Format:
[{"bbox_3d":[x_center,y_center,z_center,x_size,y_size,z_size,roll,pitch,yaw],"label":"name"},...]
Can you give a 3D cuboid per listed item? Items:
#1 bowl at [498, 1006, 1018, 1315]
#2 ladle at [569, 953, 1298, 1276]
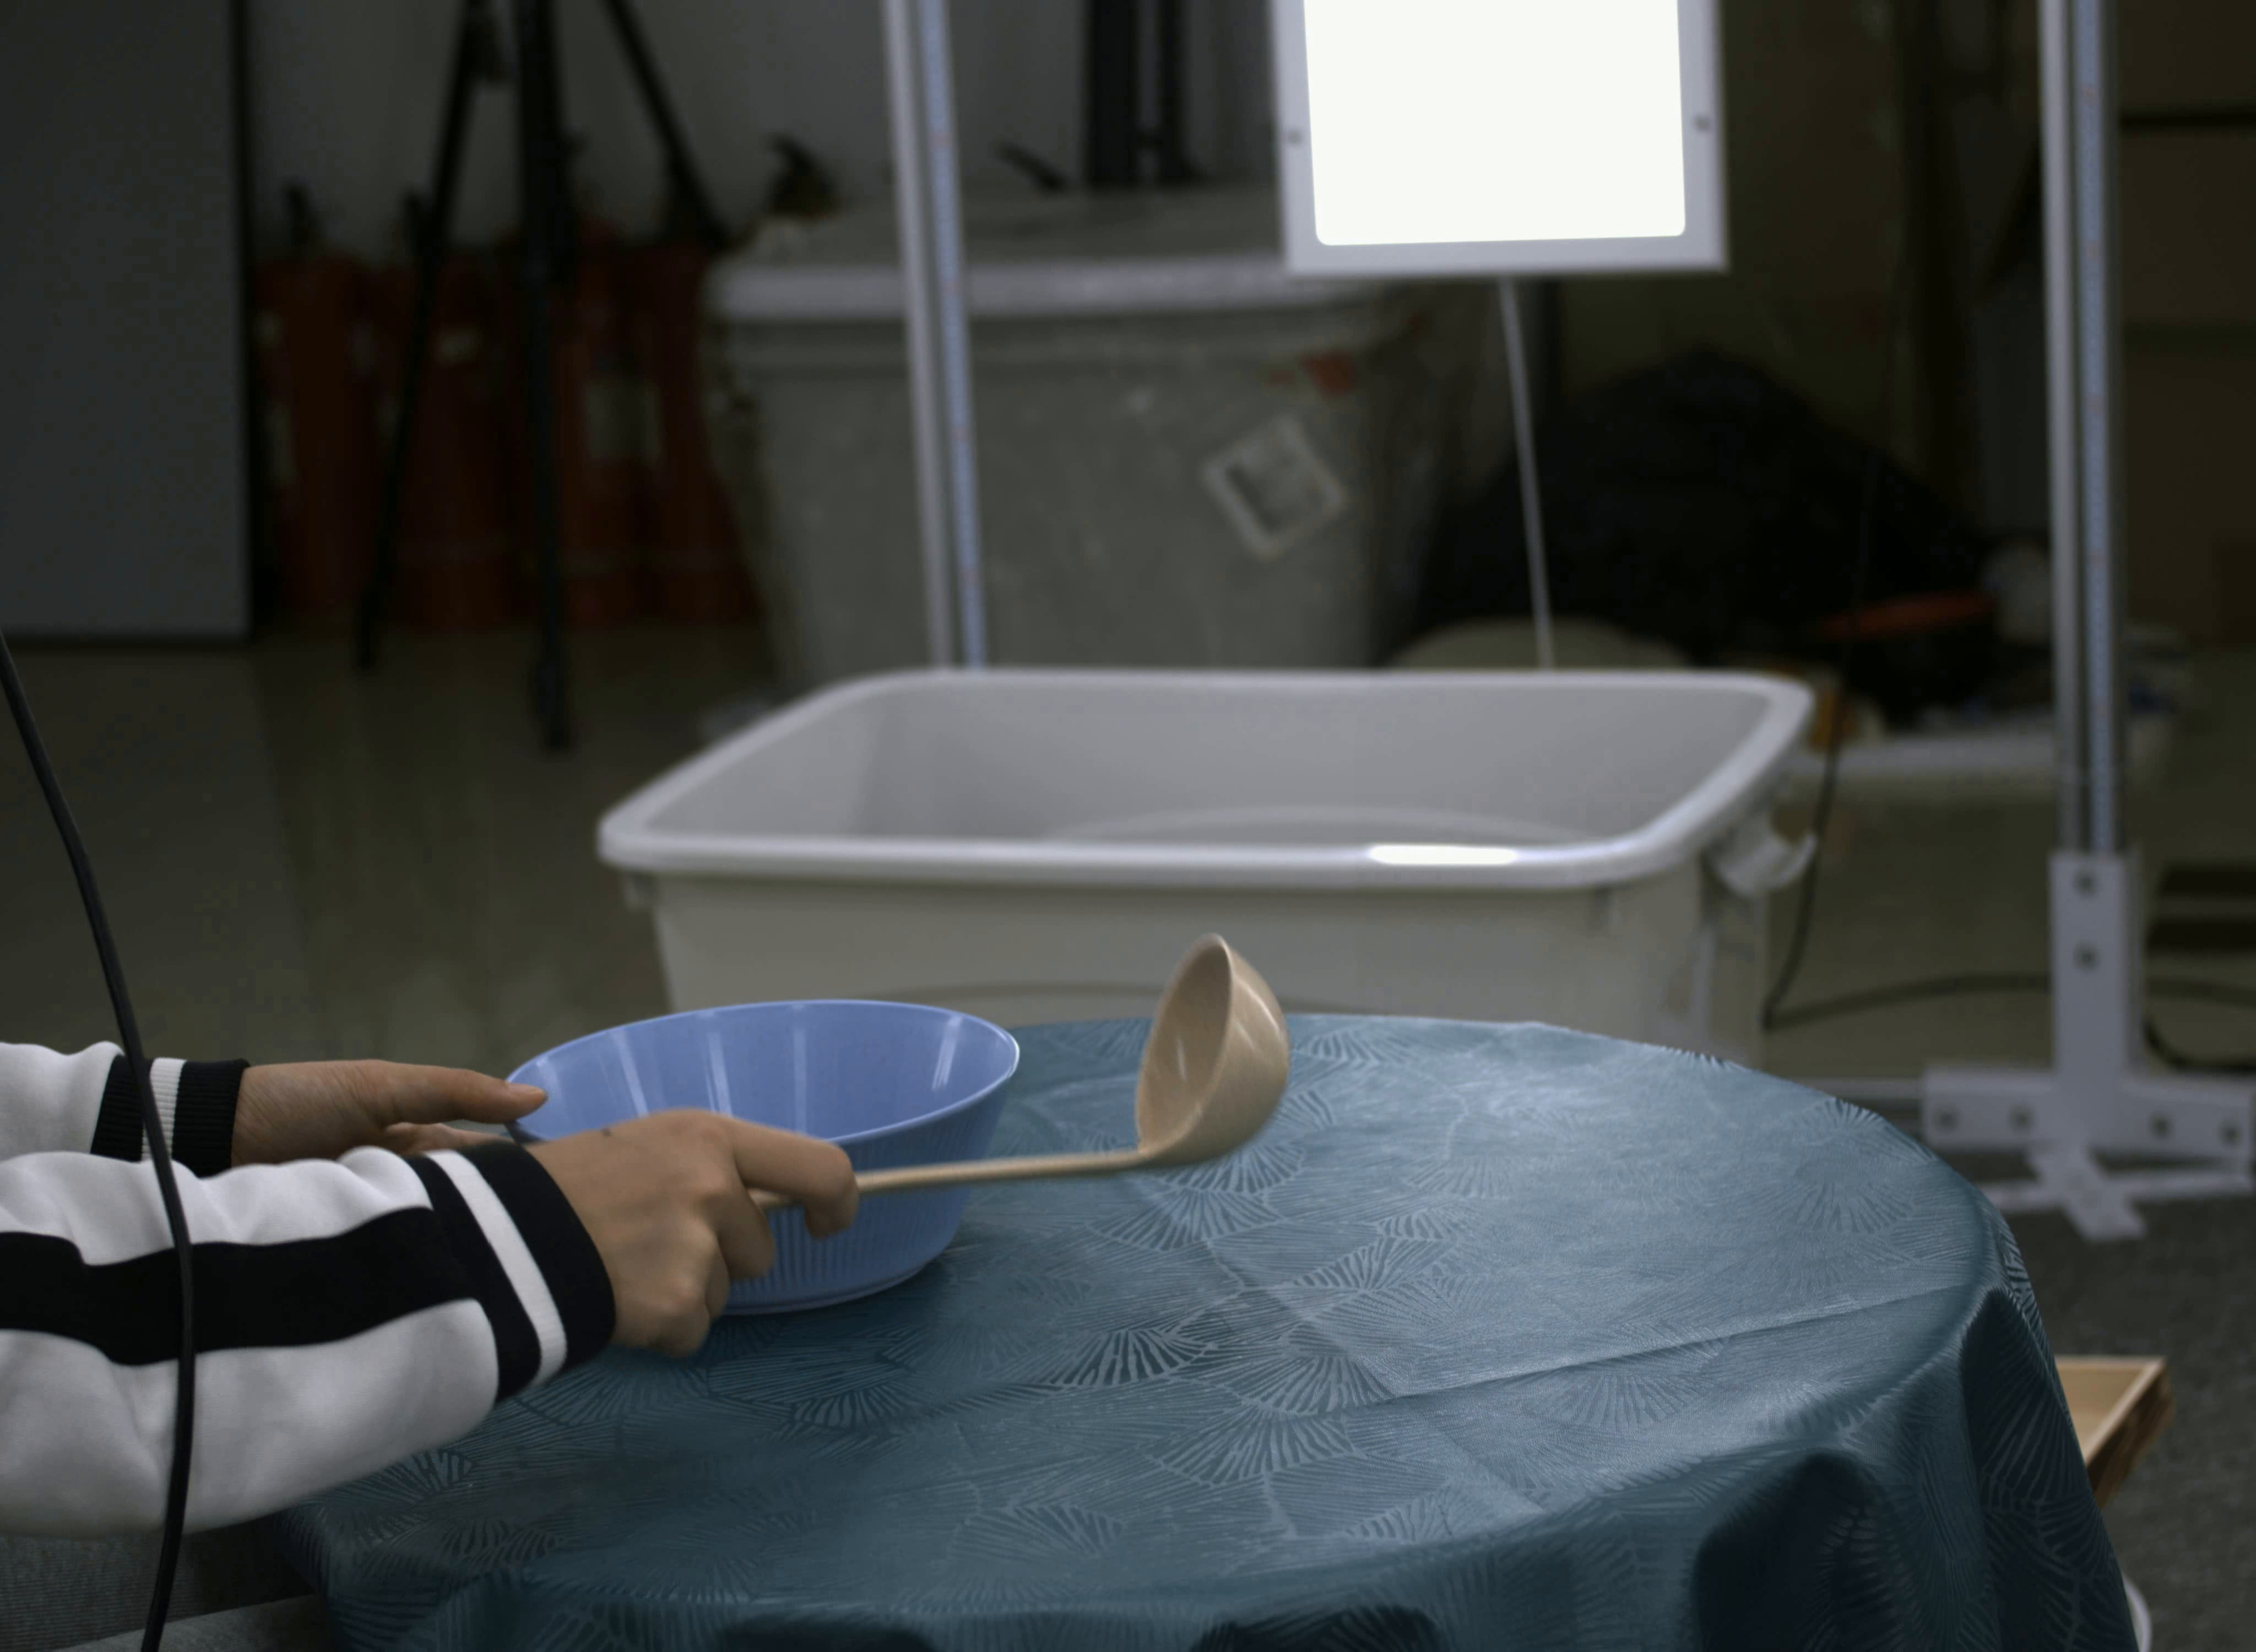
[{"bbox_3d":[-0.121,0.114,1.845,0.175,0.070,0.176,-5,13,0],"label":"bowl"},{"bbox_3d":[-0.063,0.087,1.696,0.249,0.073,0.073,-6,-16,-28],"label":"ladle"}]
